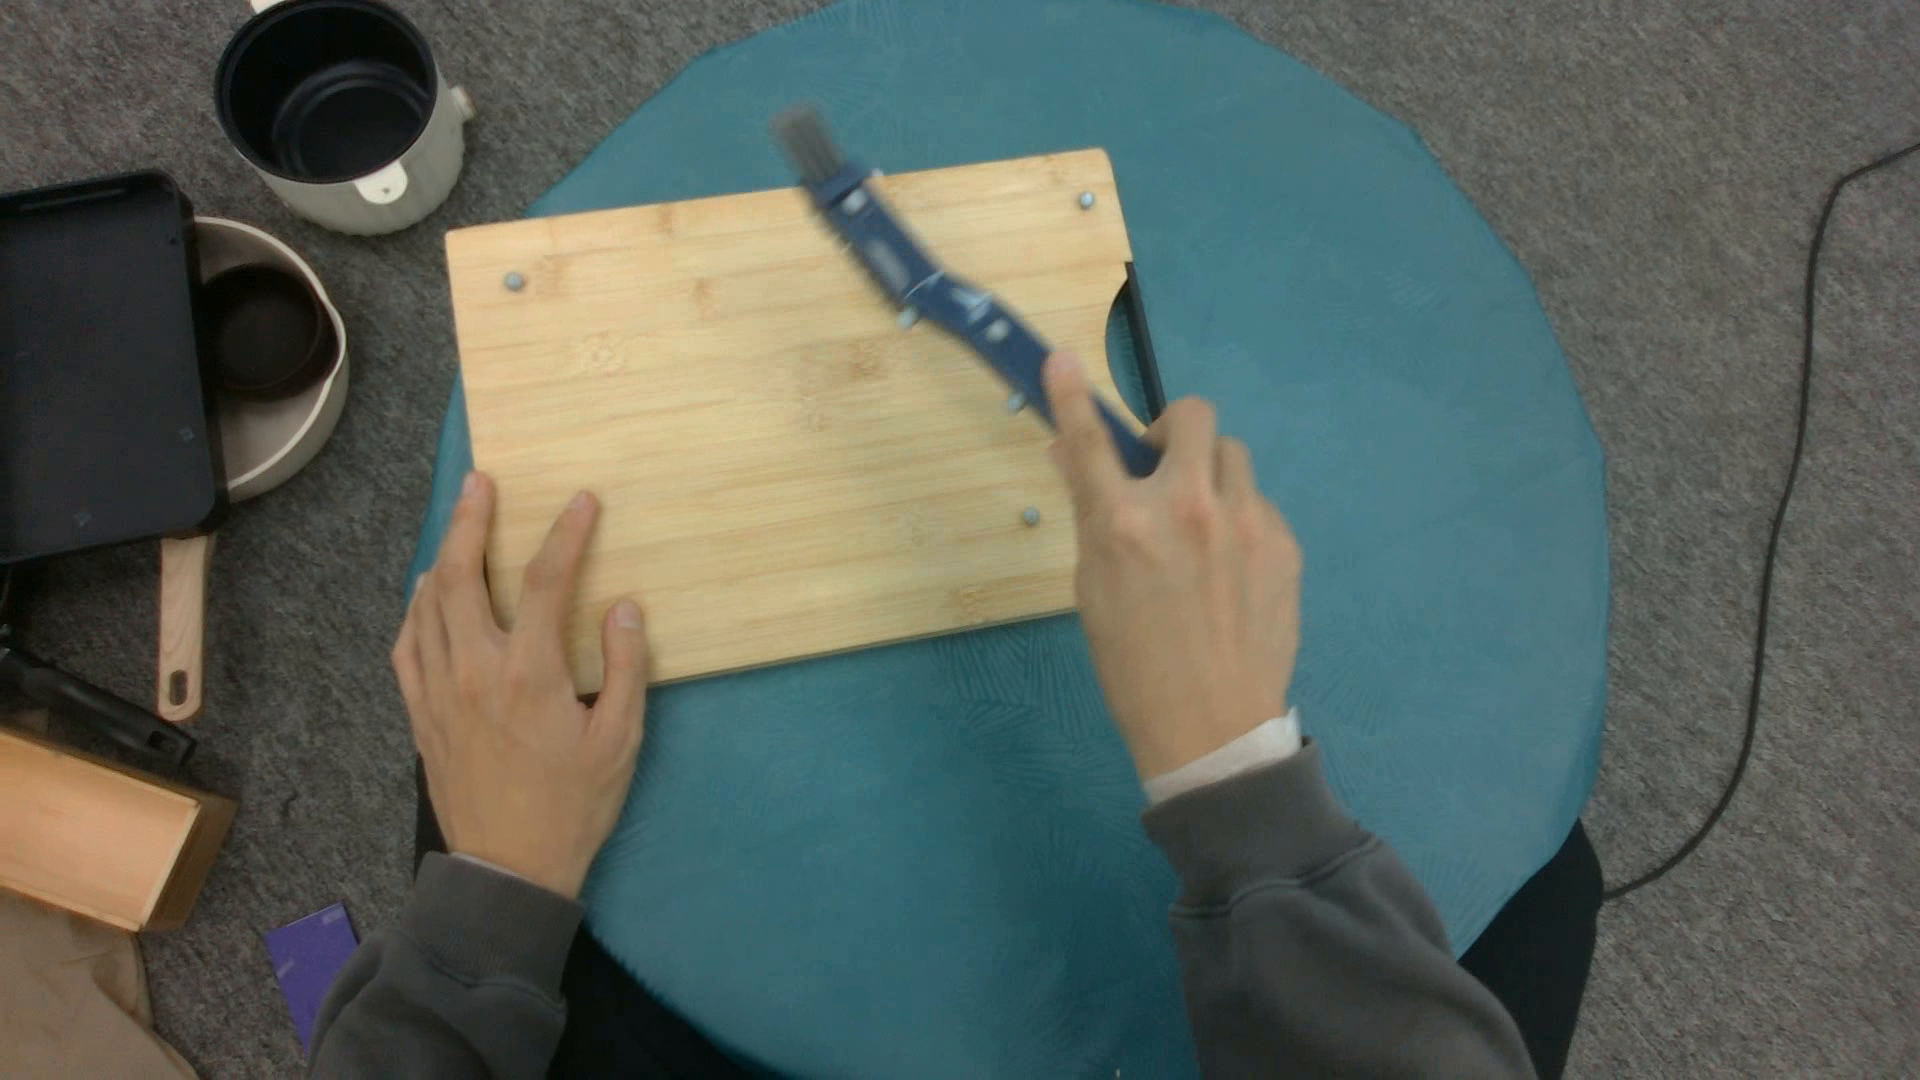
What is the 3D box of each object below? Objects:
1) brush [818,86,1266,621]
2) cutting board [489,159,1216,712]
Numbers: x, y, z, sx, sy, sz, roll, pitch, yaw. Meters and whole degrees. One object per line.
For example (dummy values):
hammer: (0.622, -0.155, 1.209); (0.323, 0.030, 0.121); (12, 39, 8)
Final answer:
brush: (0.029, -0.081, 0.589); (0.033, 0.095, 0.273); (-36, 67, -19)
cutting board: (-0.055, -0.061, 0.705); (0.349, 0.023, 0.251); (-11, 78, -7)
